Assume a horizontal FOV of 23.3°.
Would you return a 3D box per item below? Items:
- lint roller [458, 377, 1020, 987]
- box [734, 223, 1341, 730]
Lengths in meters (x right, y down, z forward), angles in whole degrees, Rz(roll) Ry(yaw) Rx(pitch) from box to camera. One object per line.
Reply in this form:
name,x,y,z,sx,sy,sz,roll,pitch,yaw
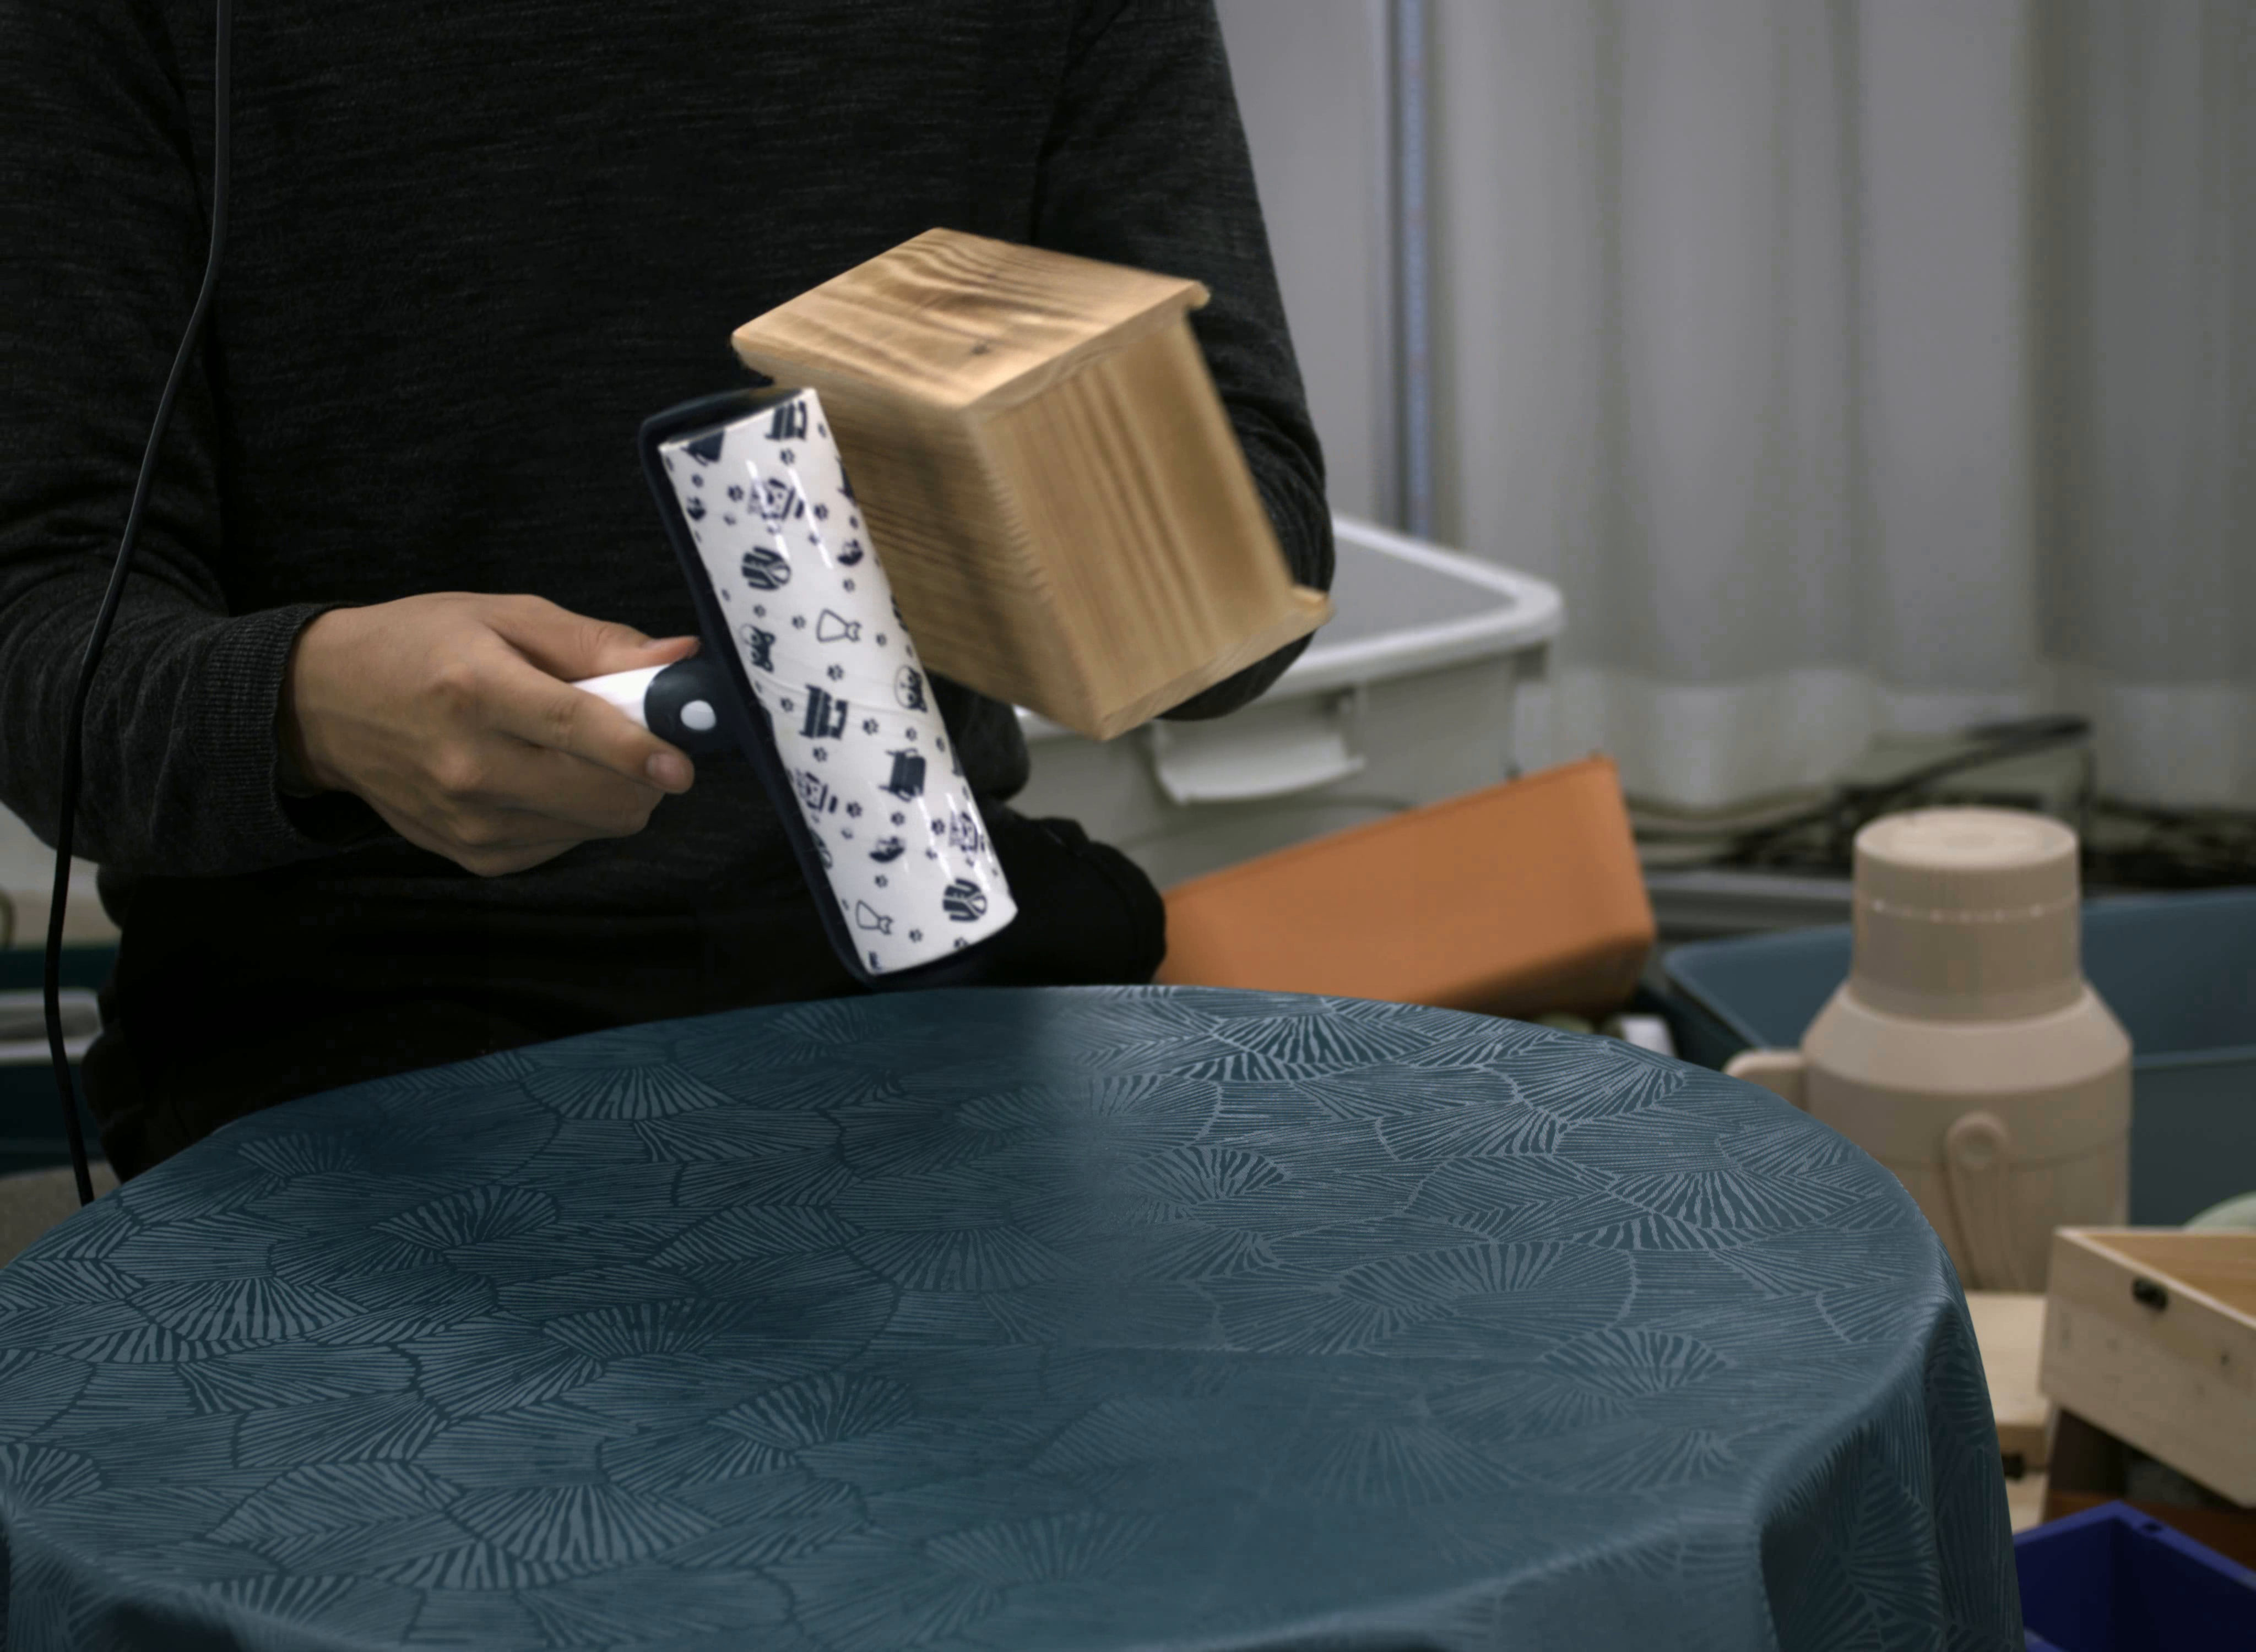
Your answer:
lint roller,-0.137,-0.029,1.613,0.050,0.176,0.247,-27,9,-35
box,-0.030,-0.107,1.610,0.080,0.107,0.213,-28,19,-16
